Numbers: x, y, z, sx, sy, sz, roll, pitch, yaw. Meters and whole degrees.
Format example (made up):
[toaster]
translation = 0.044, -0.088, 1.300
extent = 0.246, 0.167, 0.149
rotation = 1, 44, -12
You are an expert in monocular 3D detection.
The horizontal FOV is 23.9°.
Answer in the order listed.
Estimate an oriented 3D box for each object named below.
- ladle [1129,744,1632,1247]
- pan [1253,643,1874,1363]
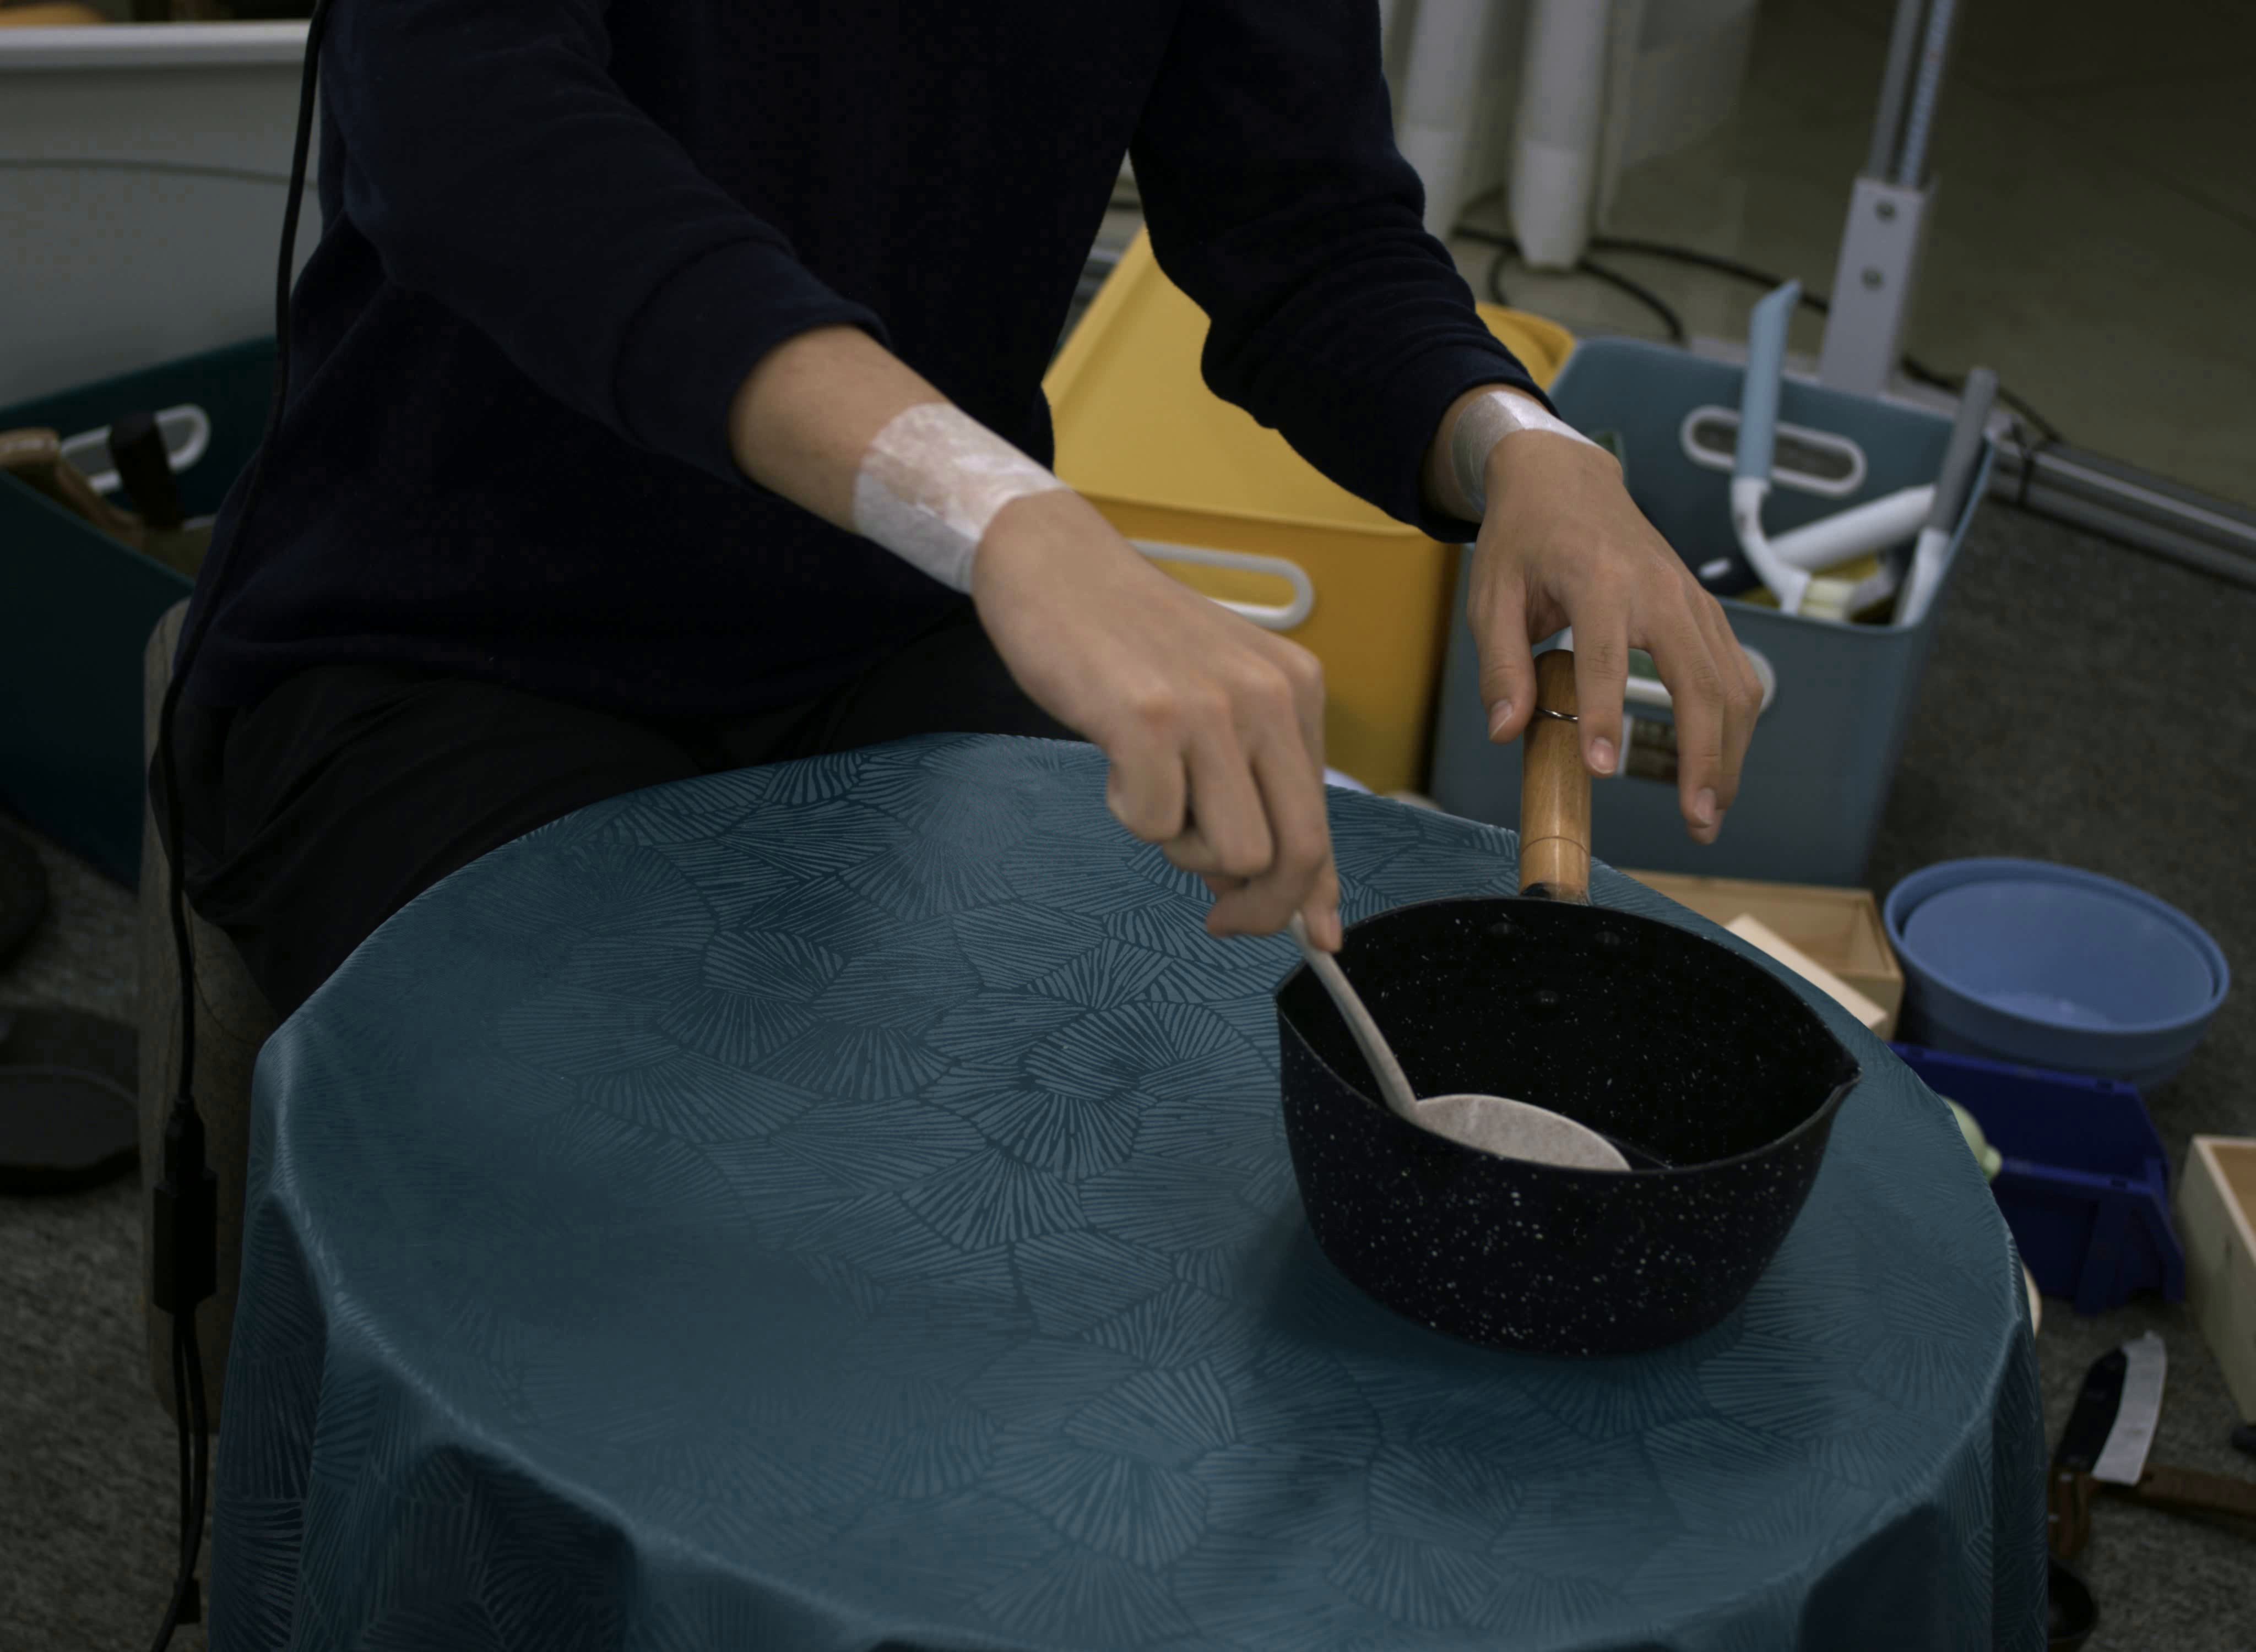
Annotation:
[ladle]
translation = 0.083, 0.045, 1.674
extent = 0.069, 0.272, 0.090
rotation = -35, 42, -3
[pan]
translation = 0.145, 0.057, 1.847
extent = 0.207, 0.108, 0.345
rotation = 5, 28, 0
